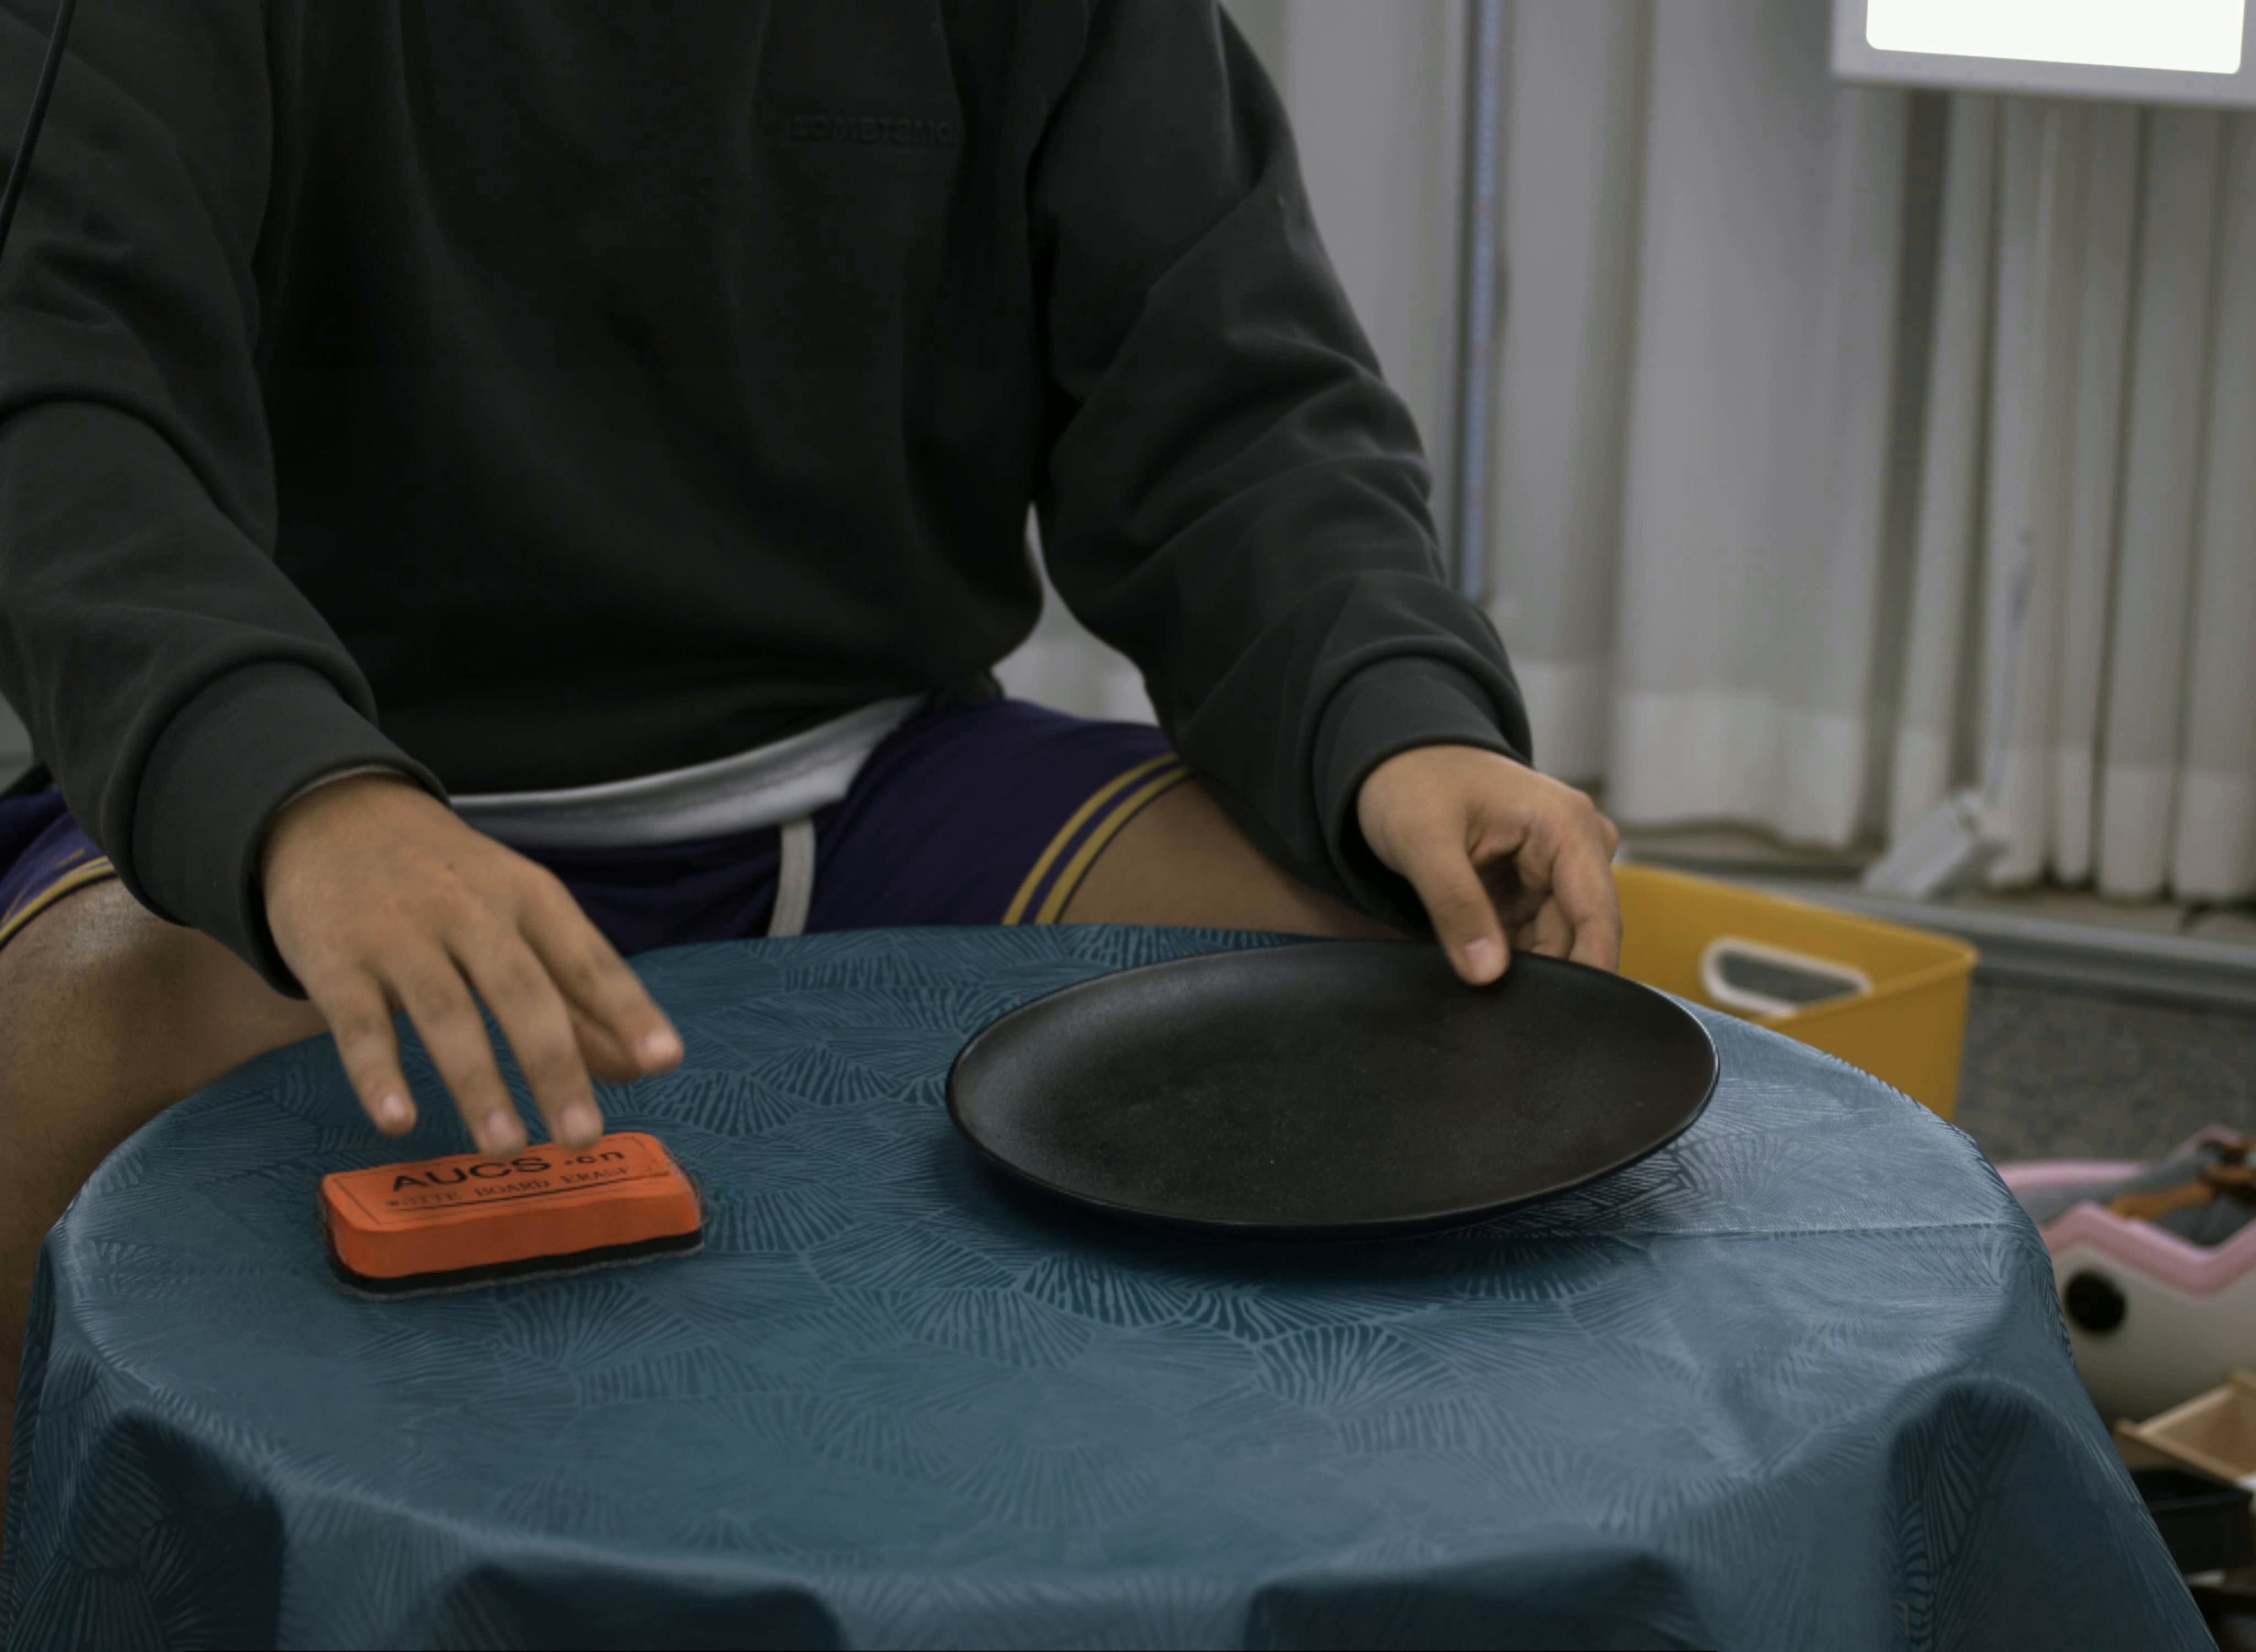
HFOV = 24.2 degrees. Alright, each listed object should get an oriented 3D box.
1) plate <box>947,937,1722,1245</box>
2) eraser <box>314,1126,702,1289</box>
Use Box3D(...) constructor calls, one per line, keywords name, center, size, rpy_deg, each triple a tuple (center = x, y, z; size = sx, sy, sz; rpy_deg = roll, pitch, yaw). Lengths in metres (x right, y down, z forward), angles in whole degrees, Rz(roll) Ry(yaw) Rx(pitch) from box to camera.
Box3D(name="plate", center=(0.065, 0.086, 1.653), size=(0.243, 0.023, 0.243), rpy_deg=(-2, 19, 1))
Box3D(name="eraser", center=(-0.184, 0.112, 1.561), size=(0.108, 0.023, 0.058), rpy_deg=(-5, 18, -26))
